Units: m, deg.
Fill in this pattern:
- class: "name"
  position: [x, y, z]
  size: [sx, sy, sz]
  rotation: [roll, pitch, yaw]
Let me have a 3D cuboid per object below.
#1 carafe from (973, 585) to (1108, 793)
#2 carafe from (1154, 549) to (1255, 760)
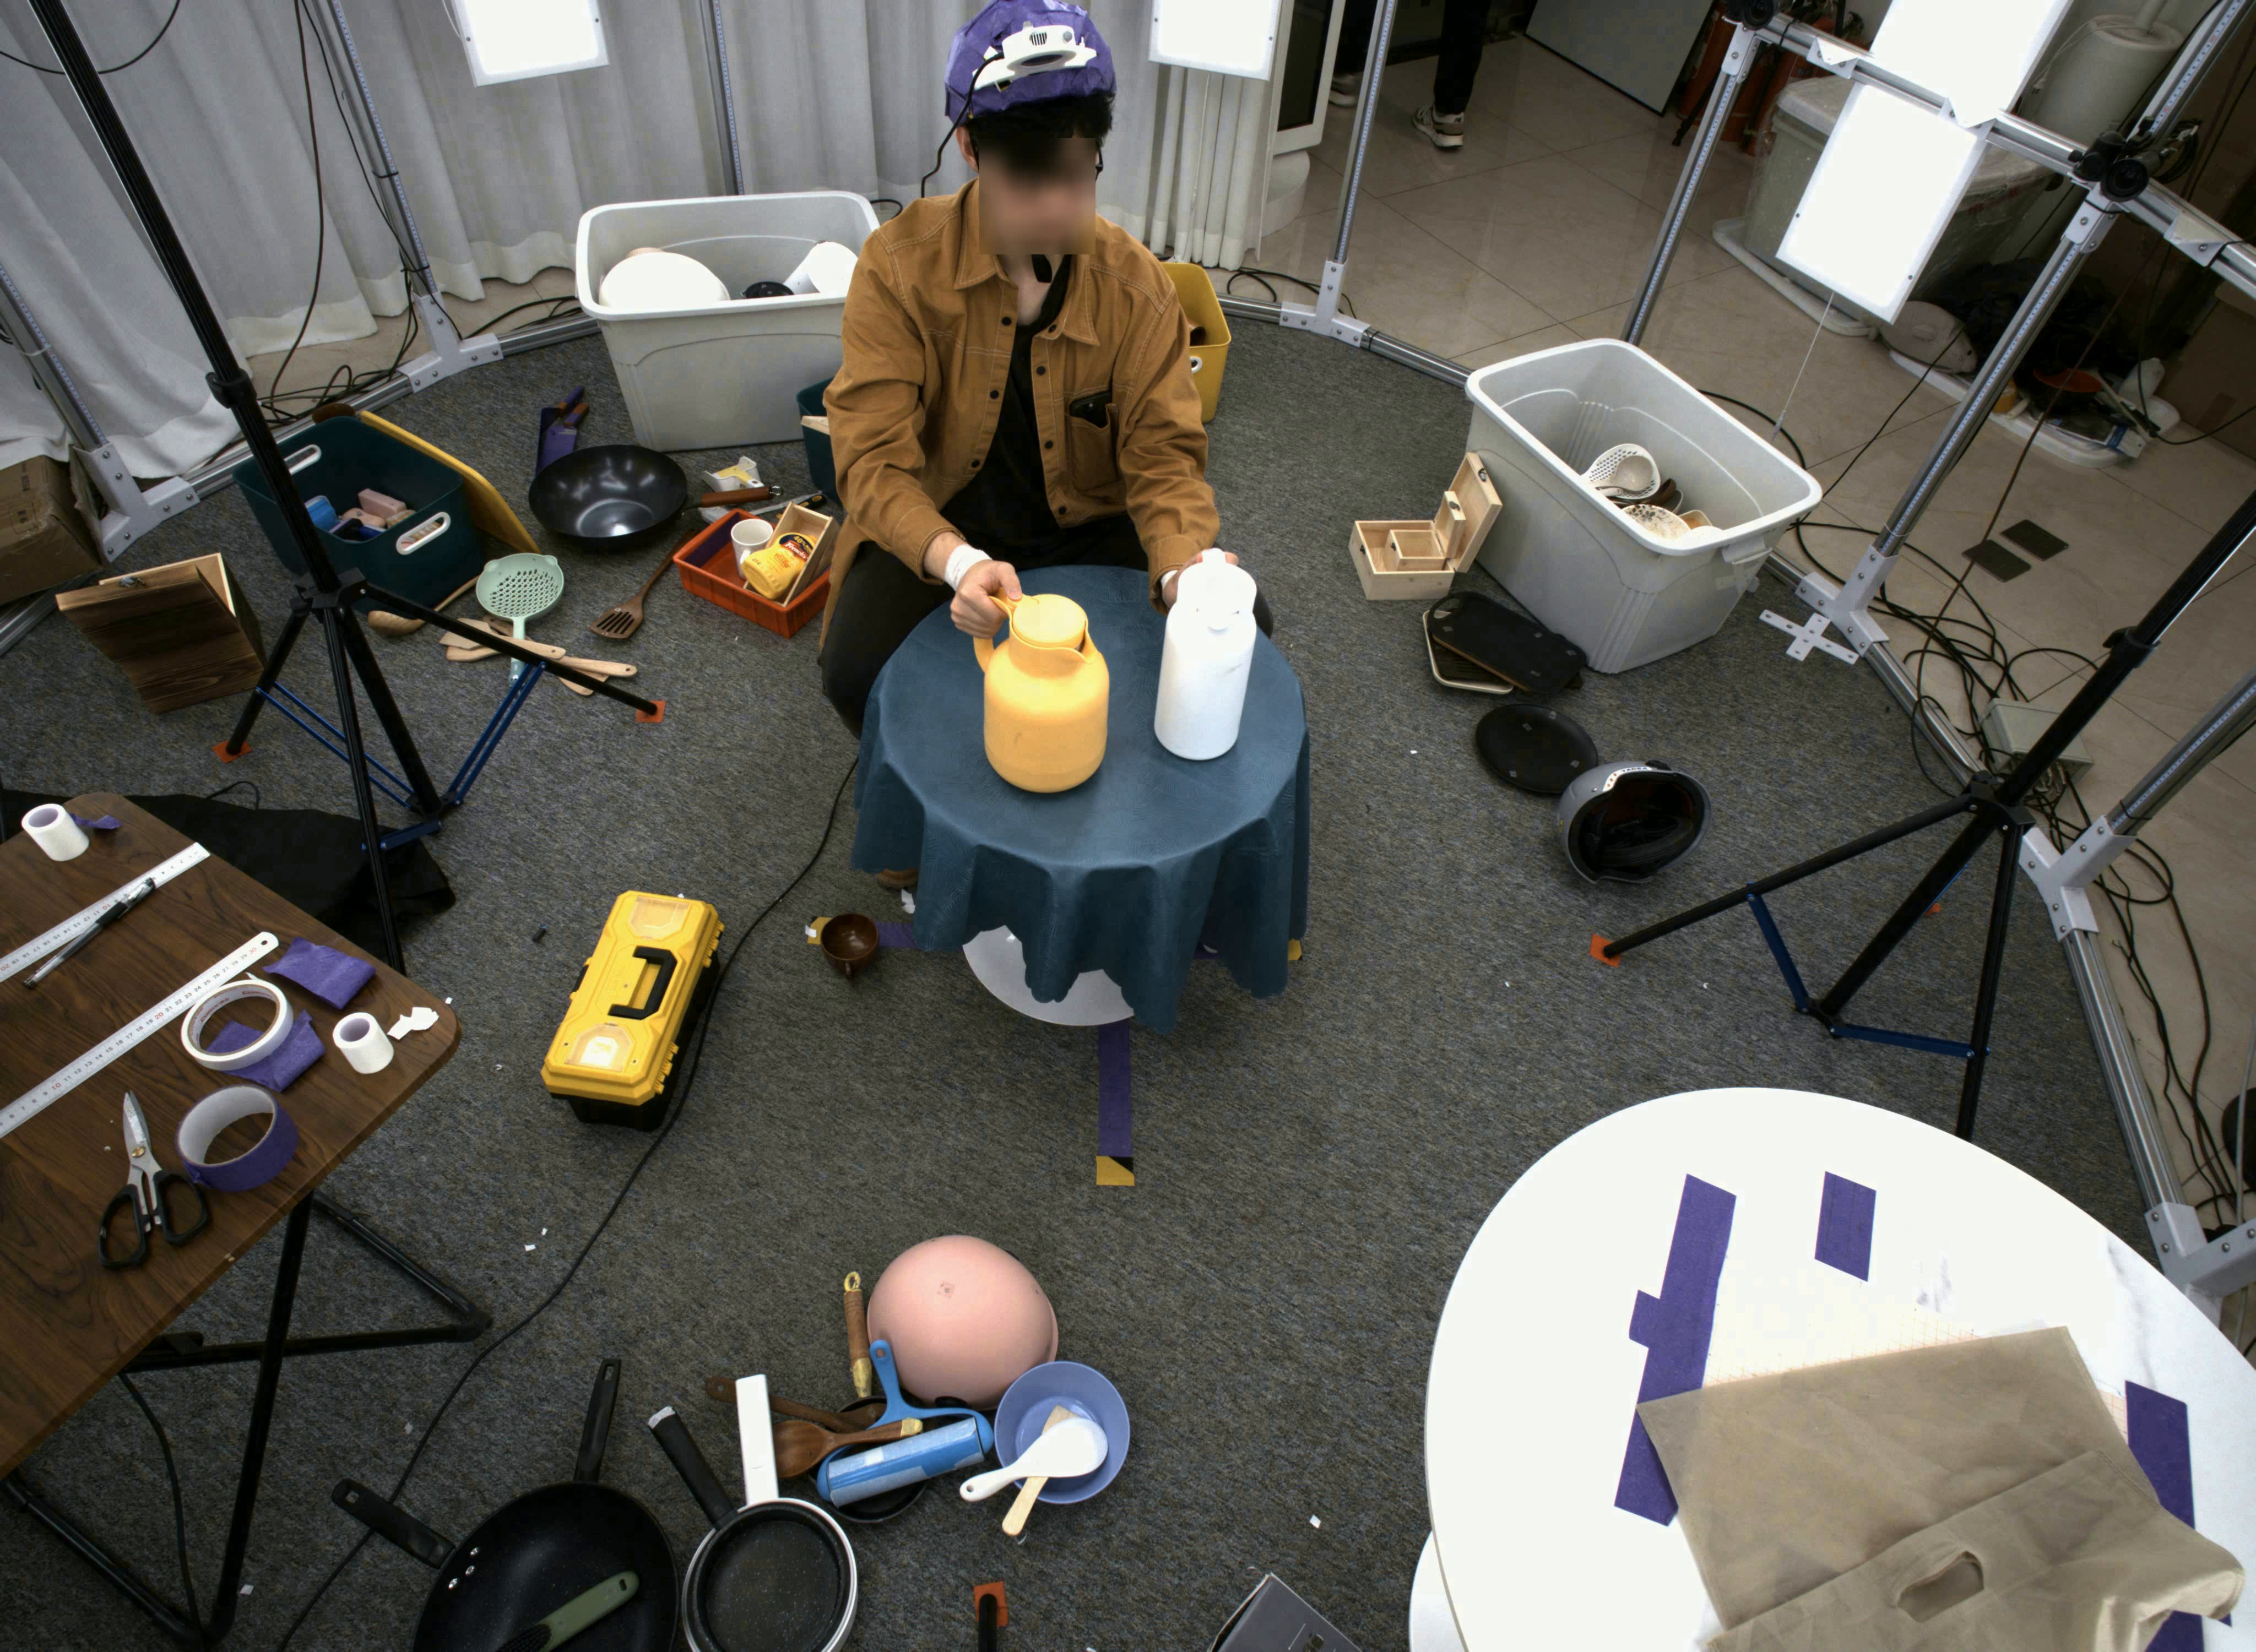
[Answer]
- class: "carafe"
  position: [-0.120, -0.186, 1.654]
  size: [0.205, 0.254, 0.165]
  rotation: [39, 55, 24]
- class: "carafe"
  position: [0.100, -0.228, 1.701]
  size: [0.124, 0.262, 0.177]
  rotation: [1, 49, -1]
